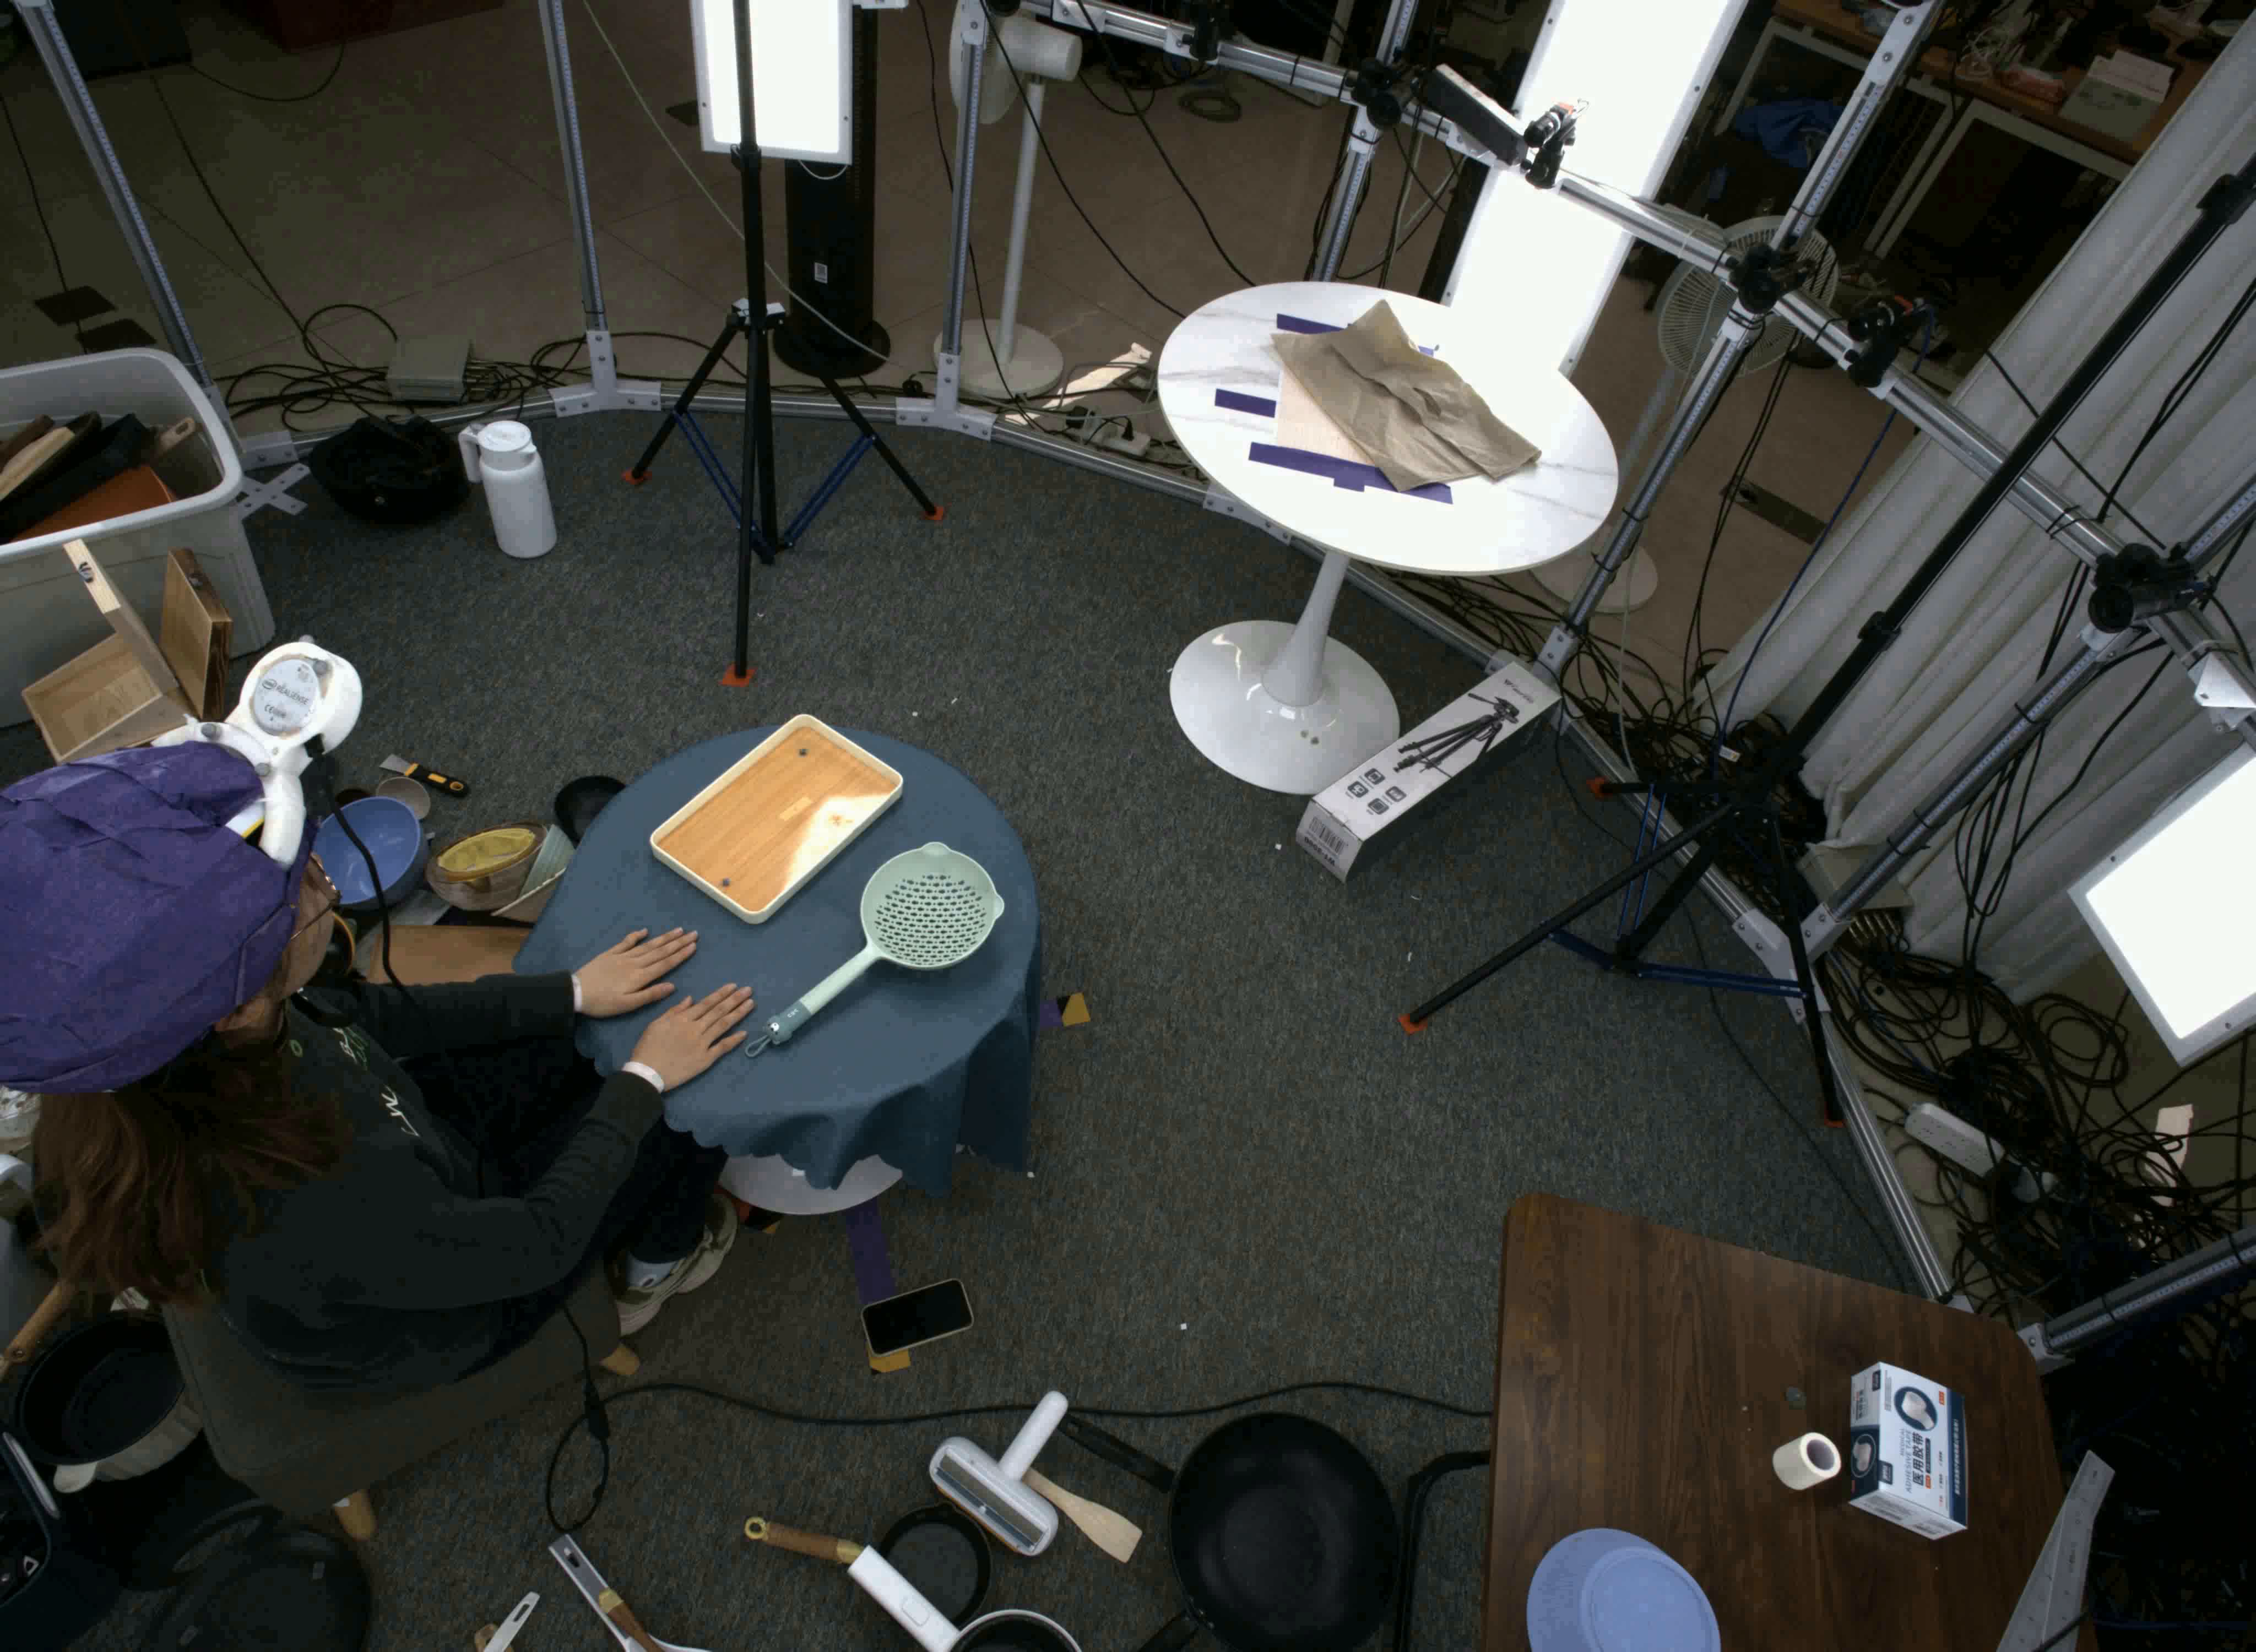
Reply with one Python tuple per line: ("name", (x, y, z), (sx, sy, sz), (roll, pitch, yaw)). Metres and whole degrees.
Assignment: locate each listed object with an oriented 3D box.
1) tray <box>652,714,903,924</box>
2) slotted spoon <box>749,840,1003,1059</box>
("tray", (-0.460, -0.017, 1.716), (0.188, 0.028, 0.300), (33, 53, 11))
("slotted spoon", (-0.317, 0.159, 1.596), (0.165, 0.077, 0.359), (41, 55, 18))
